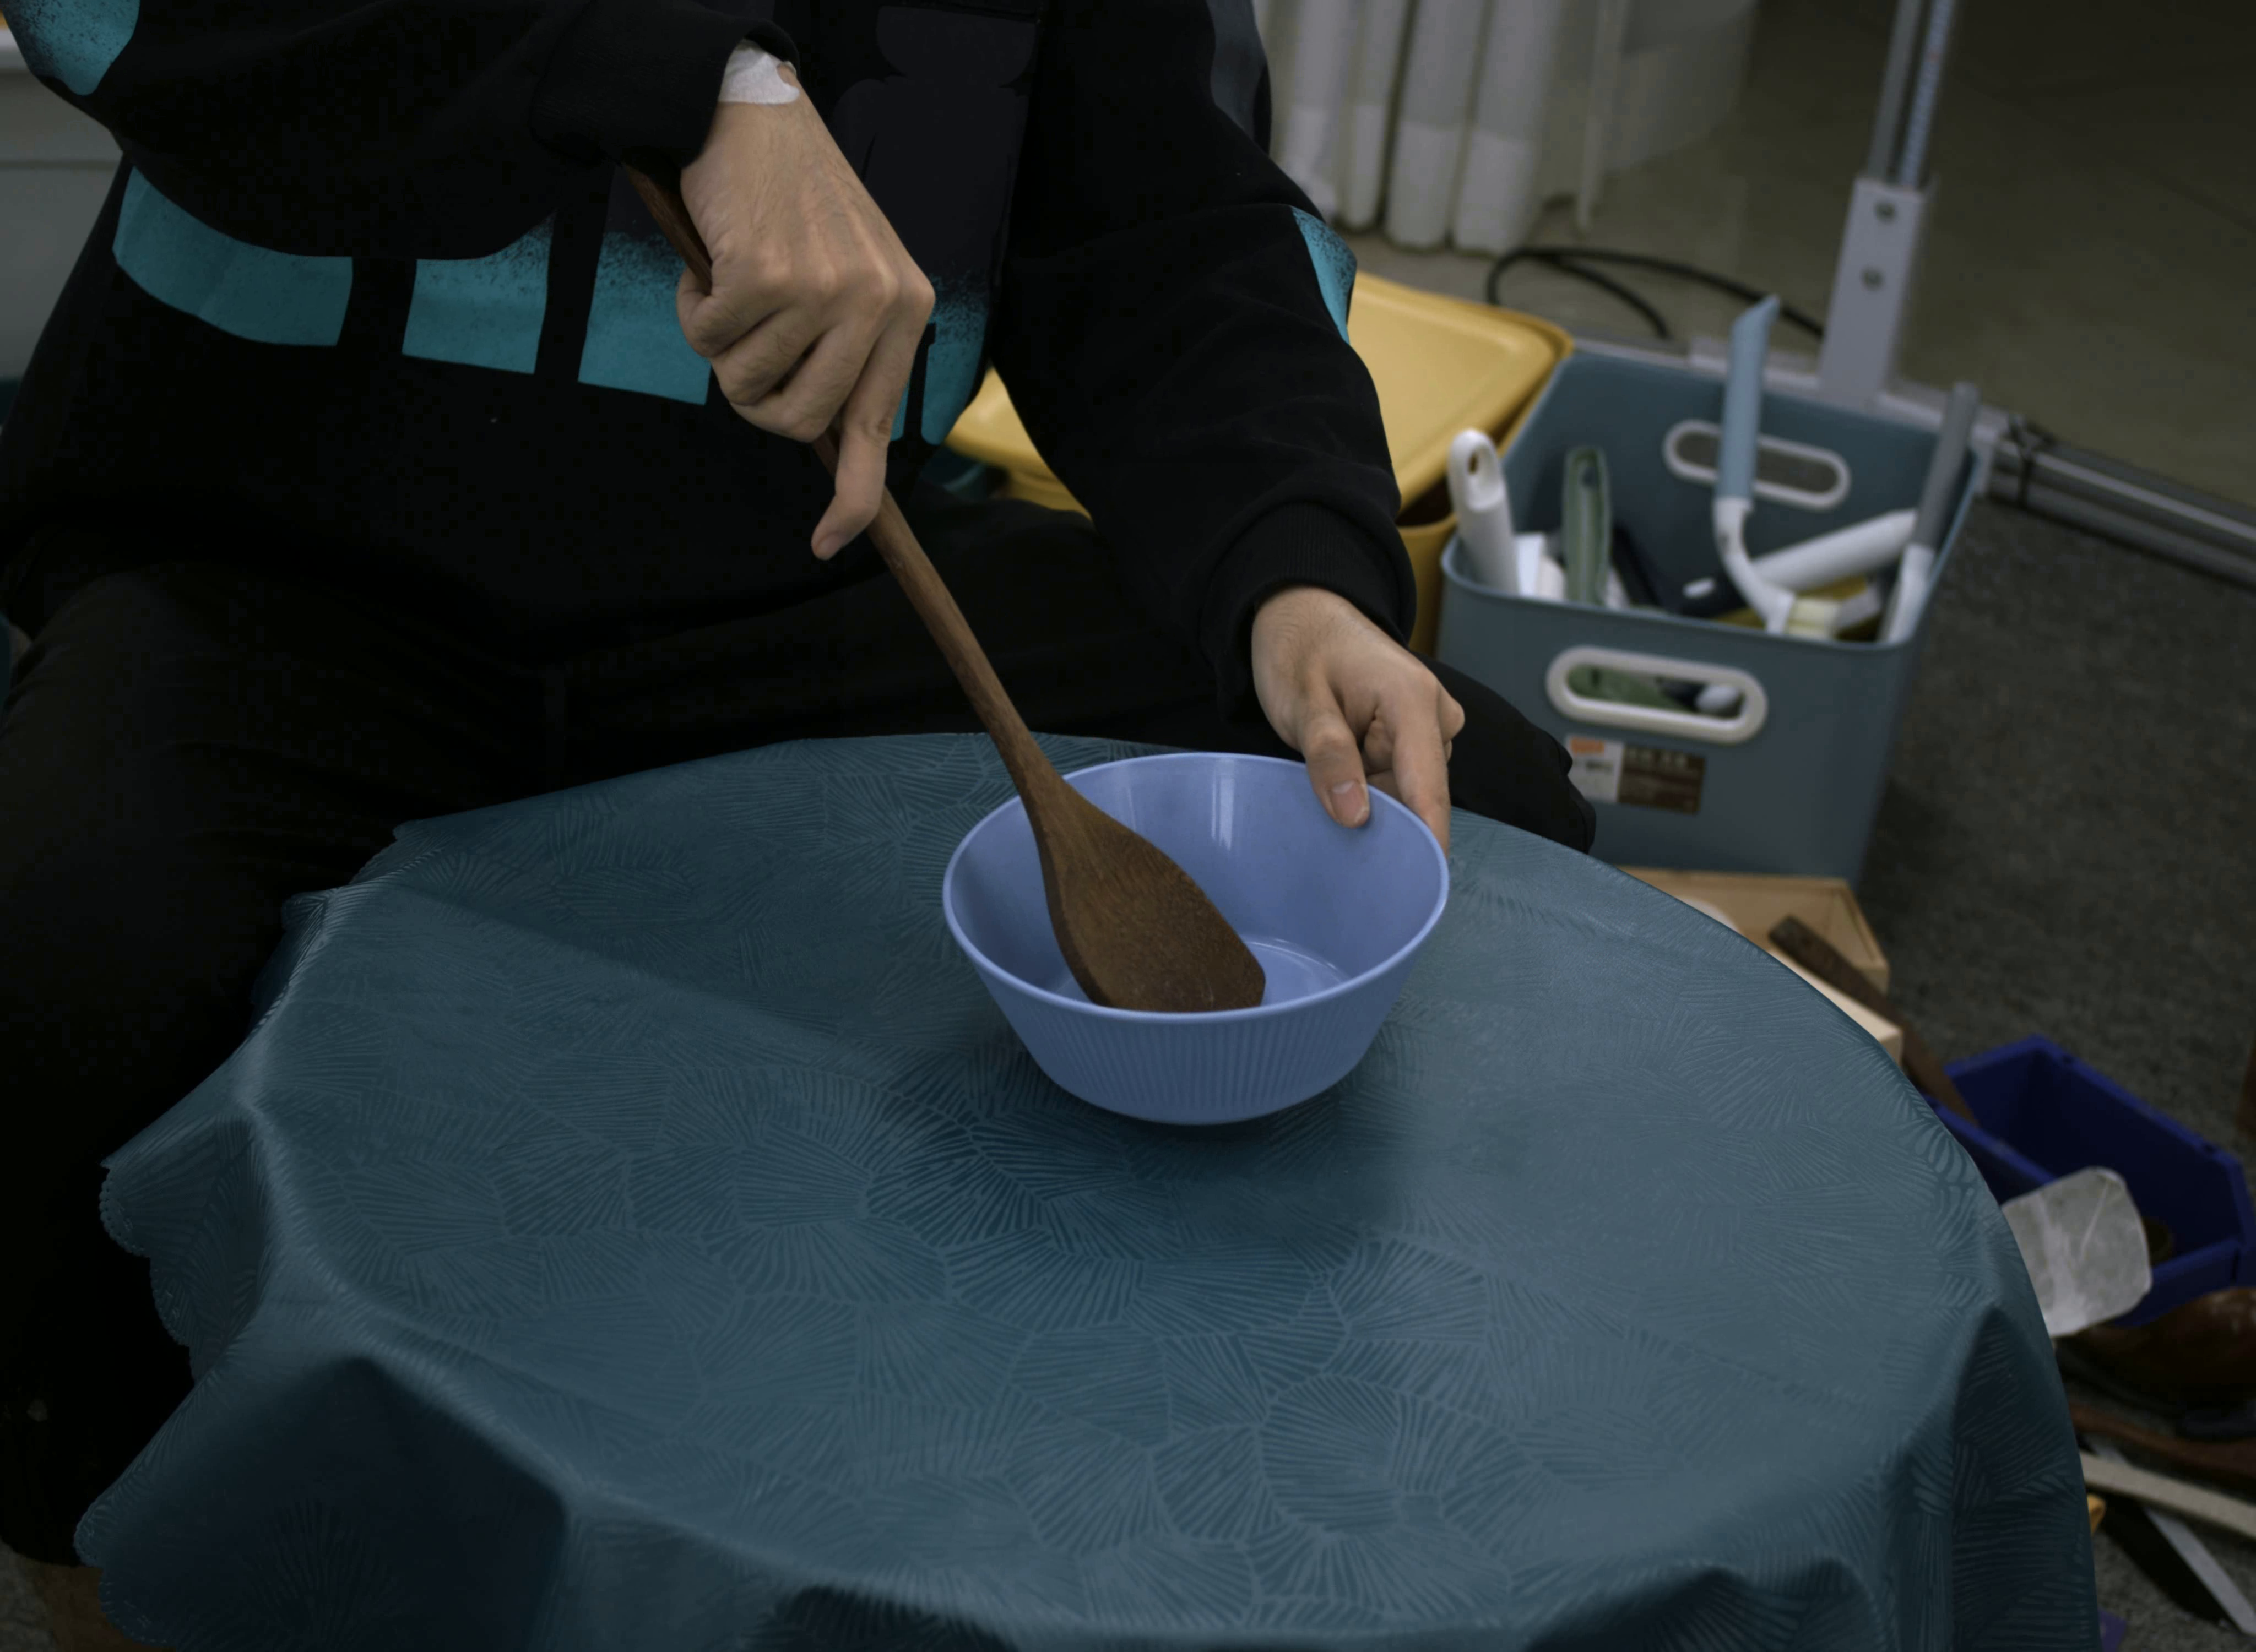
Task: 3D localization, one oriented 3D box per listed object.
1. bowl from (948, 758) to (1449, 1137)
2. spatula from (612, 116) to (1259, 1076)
[{"bbox_3d":[0.027,0.050,1.860,0.175,0.070,0.177,-5,32,3],"label":"bowl"},{"bbox_3d":[-0.069,-0.079,1.827,0.016,0.386,0.096,-29,6,31],"label":"spatula"}]
